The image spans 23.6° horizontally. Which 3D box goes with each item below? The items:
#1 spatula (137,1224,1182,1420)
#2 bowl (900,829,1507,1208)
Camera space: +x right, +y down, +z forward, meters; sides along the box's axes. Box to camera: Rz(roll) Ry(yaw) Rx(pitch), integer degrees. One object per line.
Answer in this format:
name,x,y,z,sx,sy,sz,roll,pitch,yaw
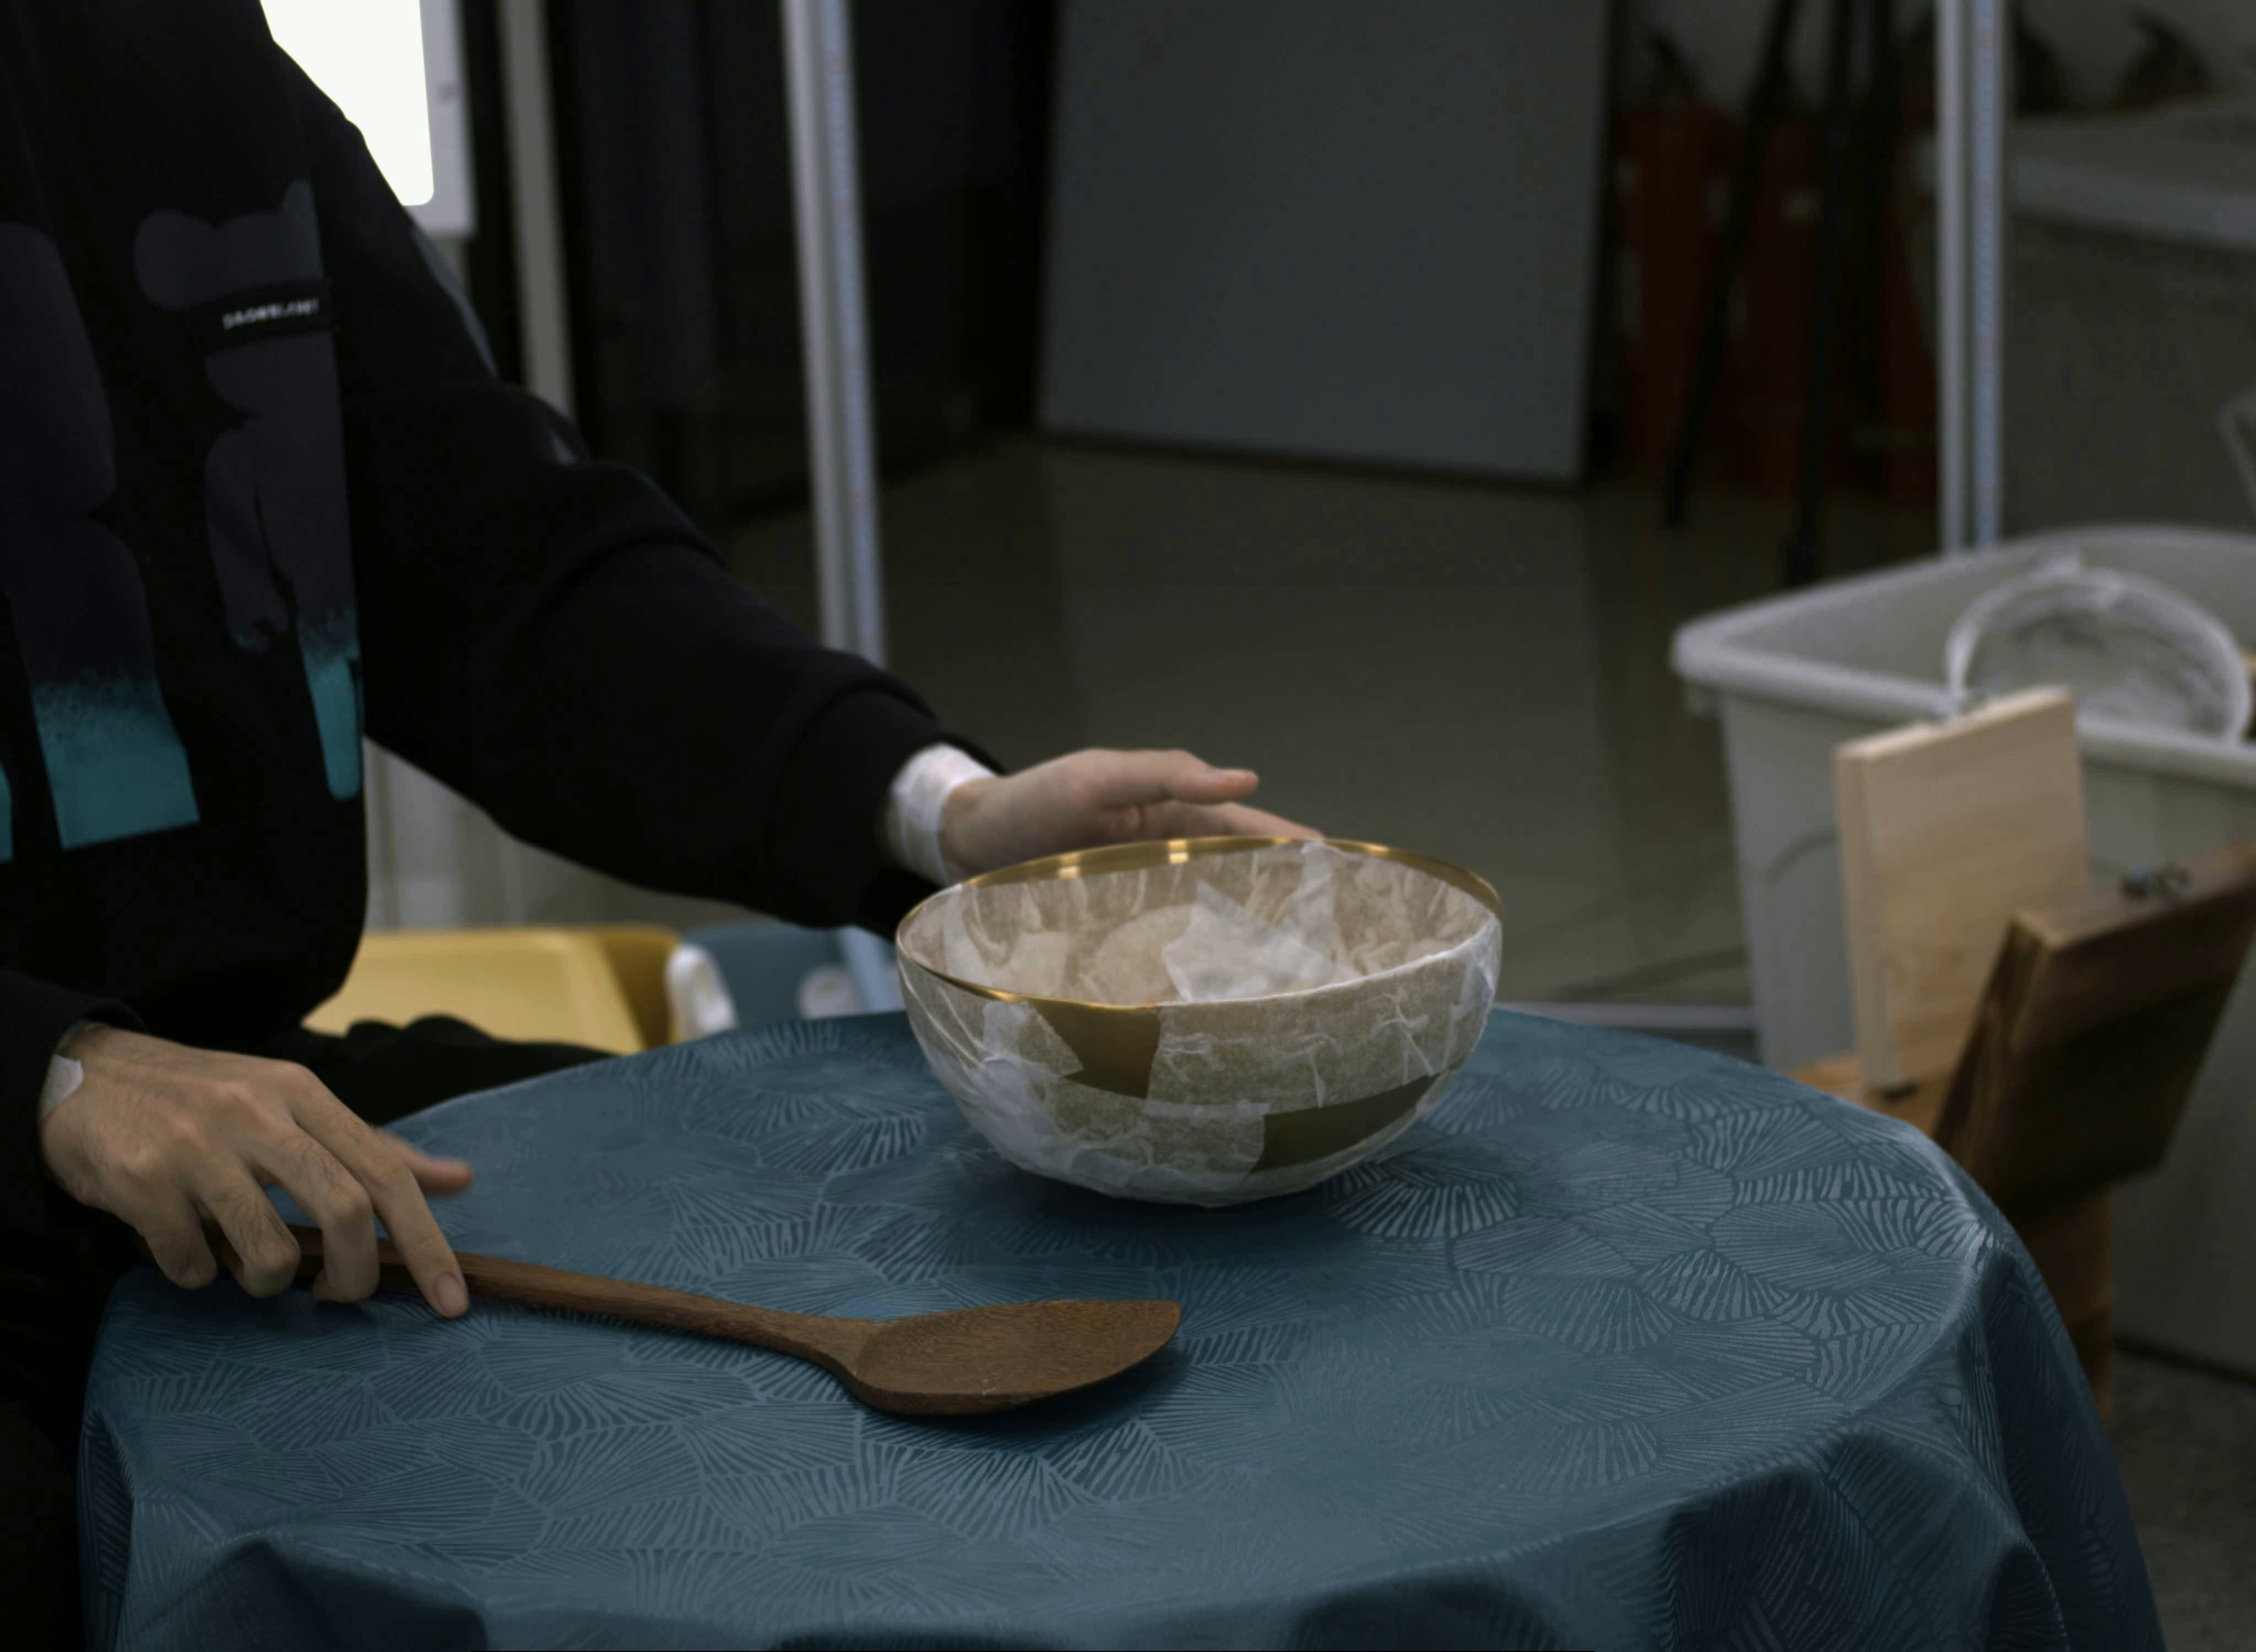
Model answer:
spatula,-0.159,0.149,1.678,0.388,0.016,0.094,4,16,32
bowl,0.026,0.070,1.773,0.212,0.095,0.215,-5,14,0
